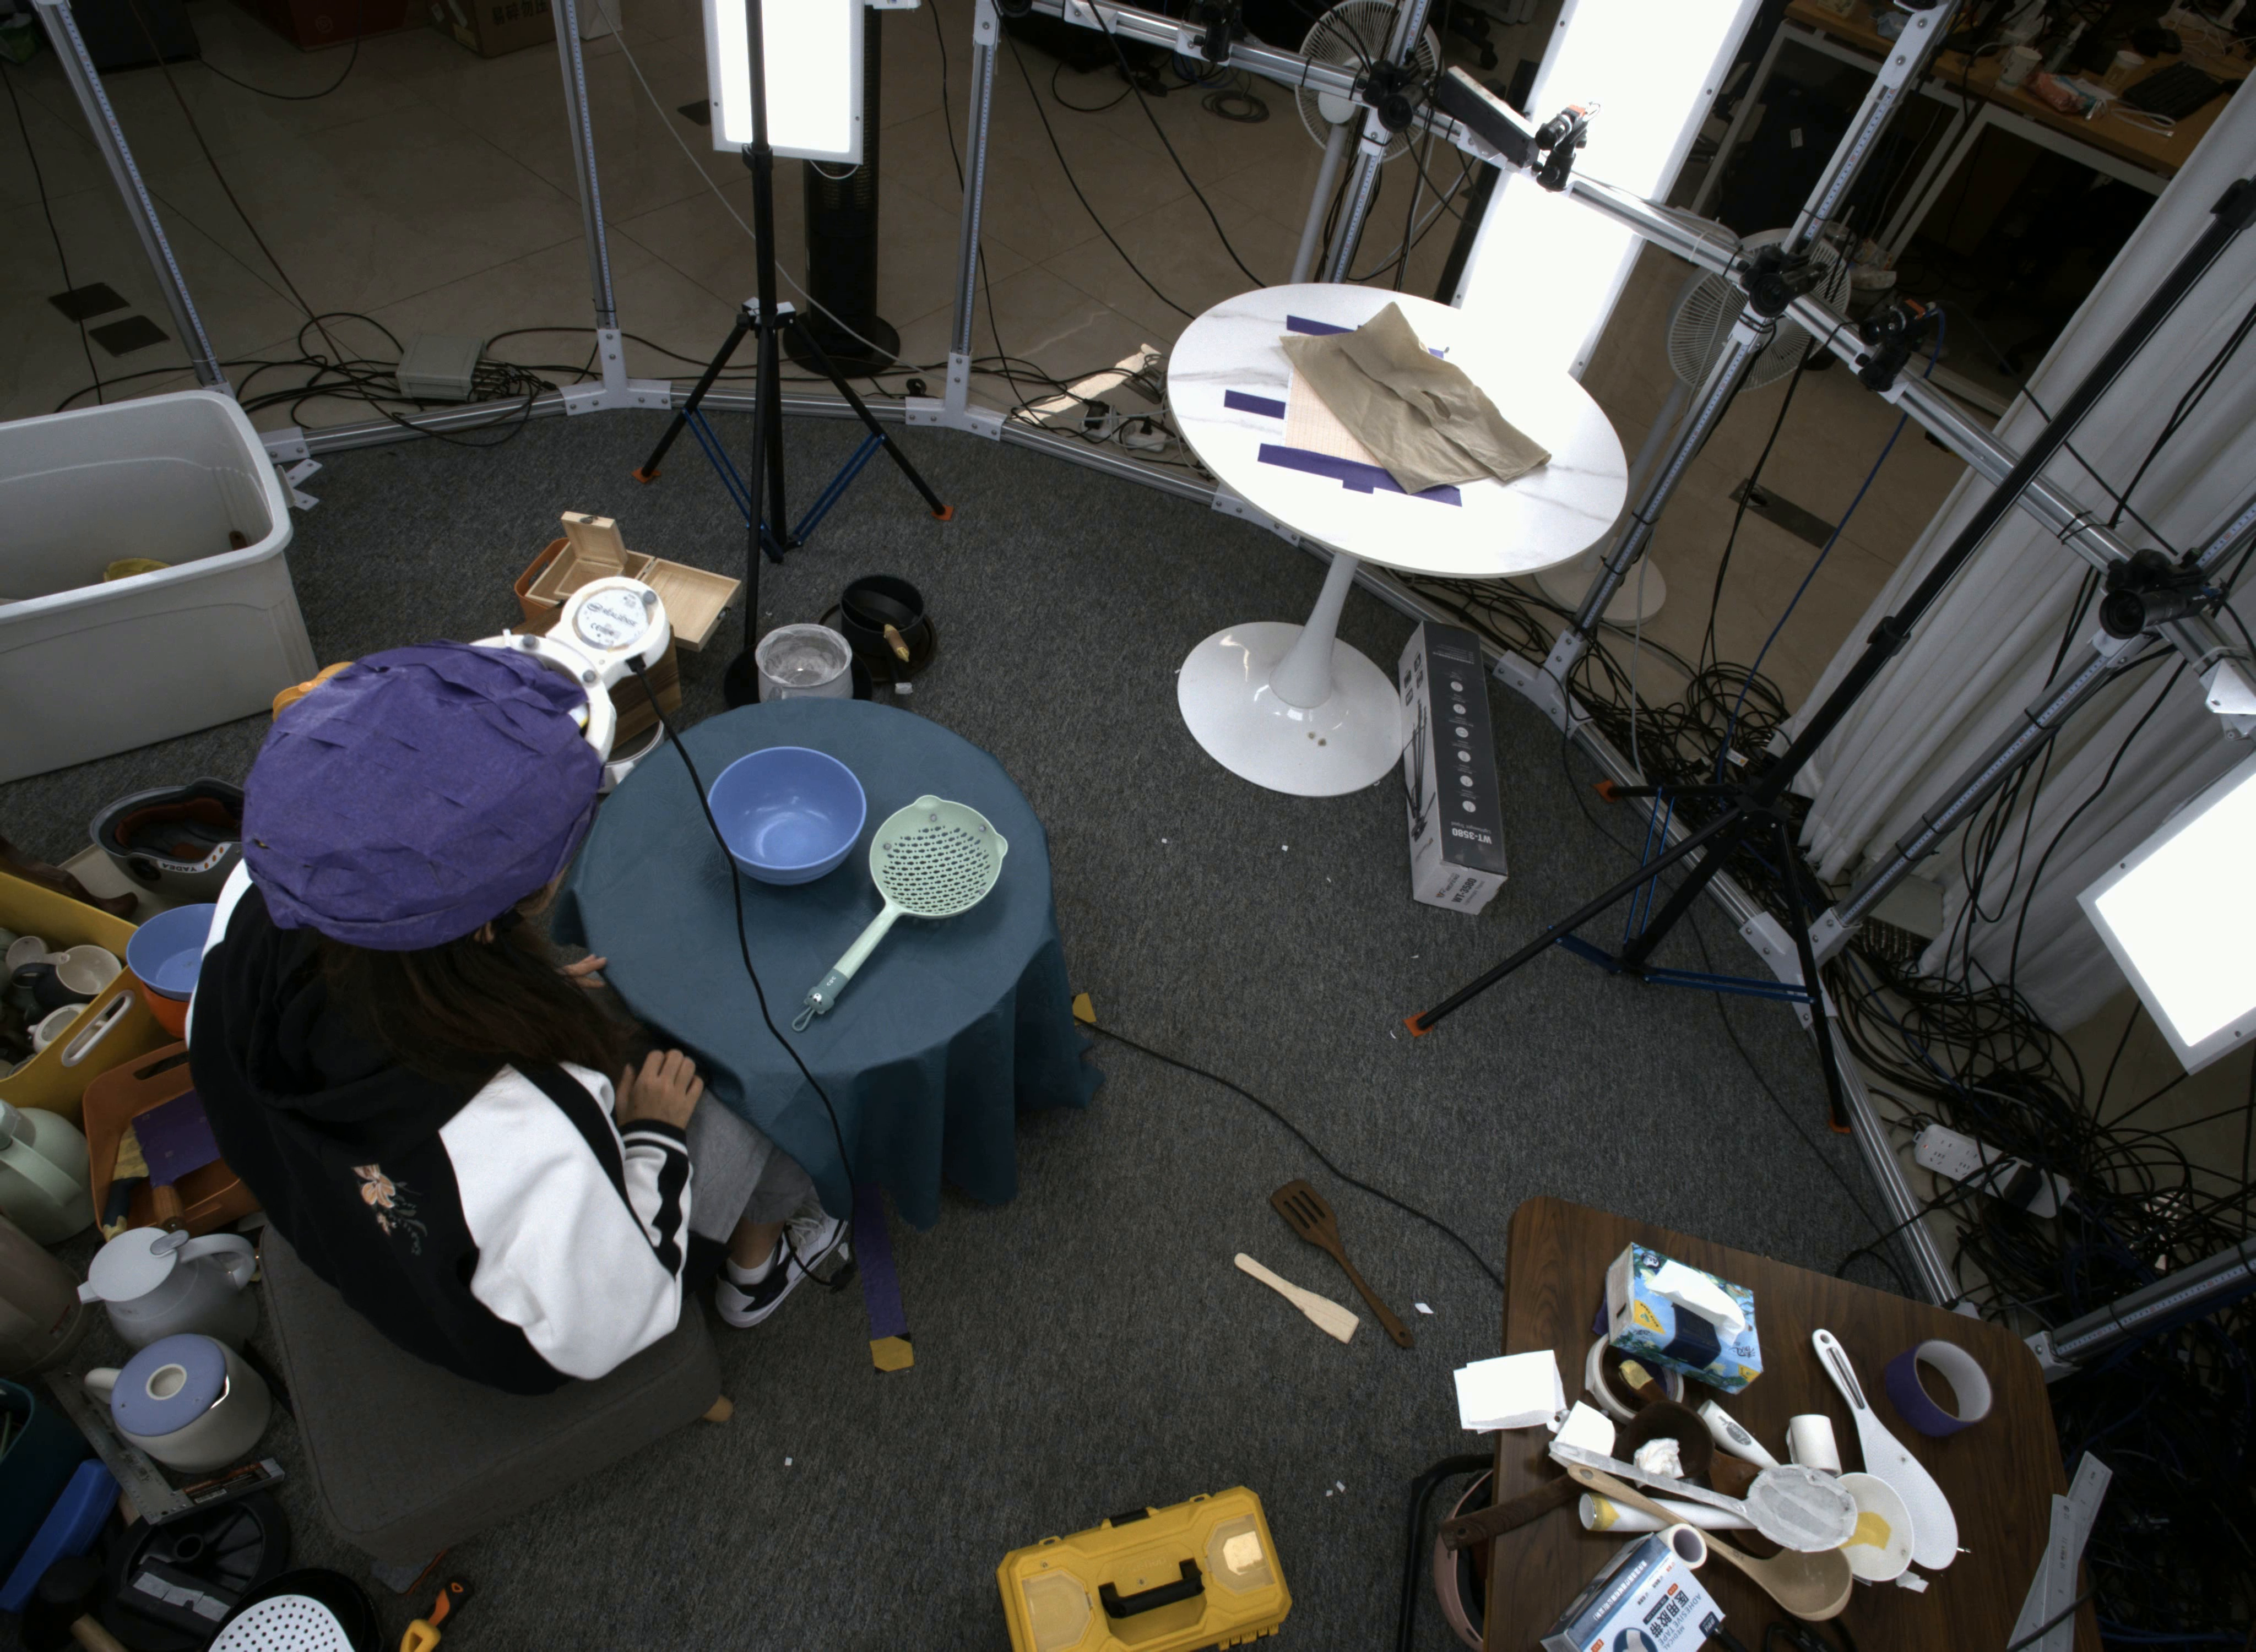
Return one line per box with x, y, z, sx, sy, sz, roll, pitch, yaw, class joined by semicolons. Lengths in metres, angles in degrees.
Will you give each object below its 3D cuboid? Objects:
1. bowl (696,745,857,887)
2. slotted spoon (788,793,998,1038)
-0.445;0.003;1.650;0.196;0.097;0.193;8;52;-9;bowl
-0.308;0.113;1.628;0.166;0.077;0.358;30;54;10;slotted spoon
